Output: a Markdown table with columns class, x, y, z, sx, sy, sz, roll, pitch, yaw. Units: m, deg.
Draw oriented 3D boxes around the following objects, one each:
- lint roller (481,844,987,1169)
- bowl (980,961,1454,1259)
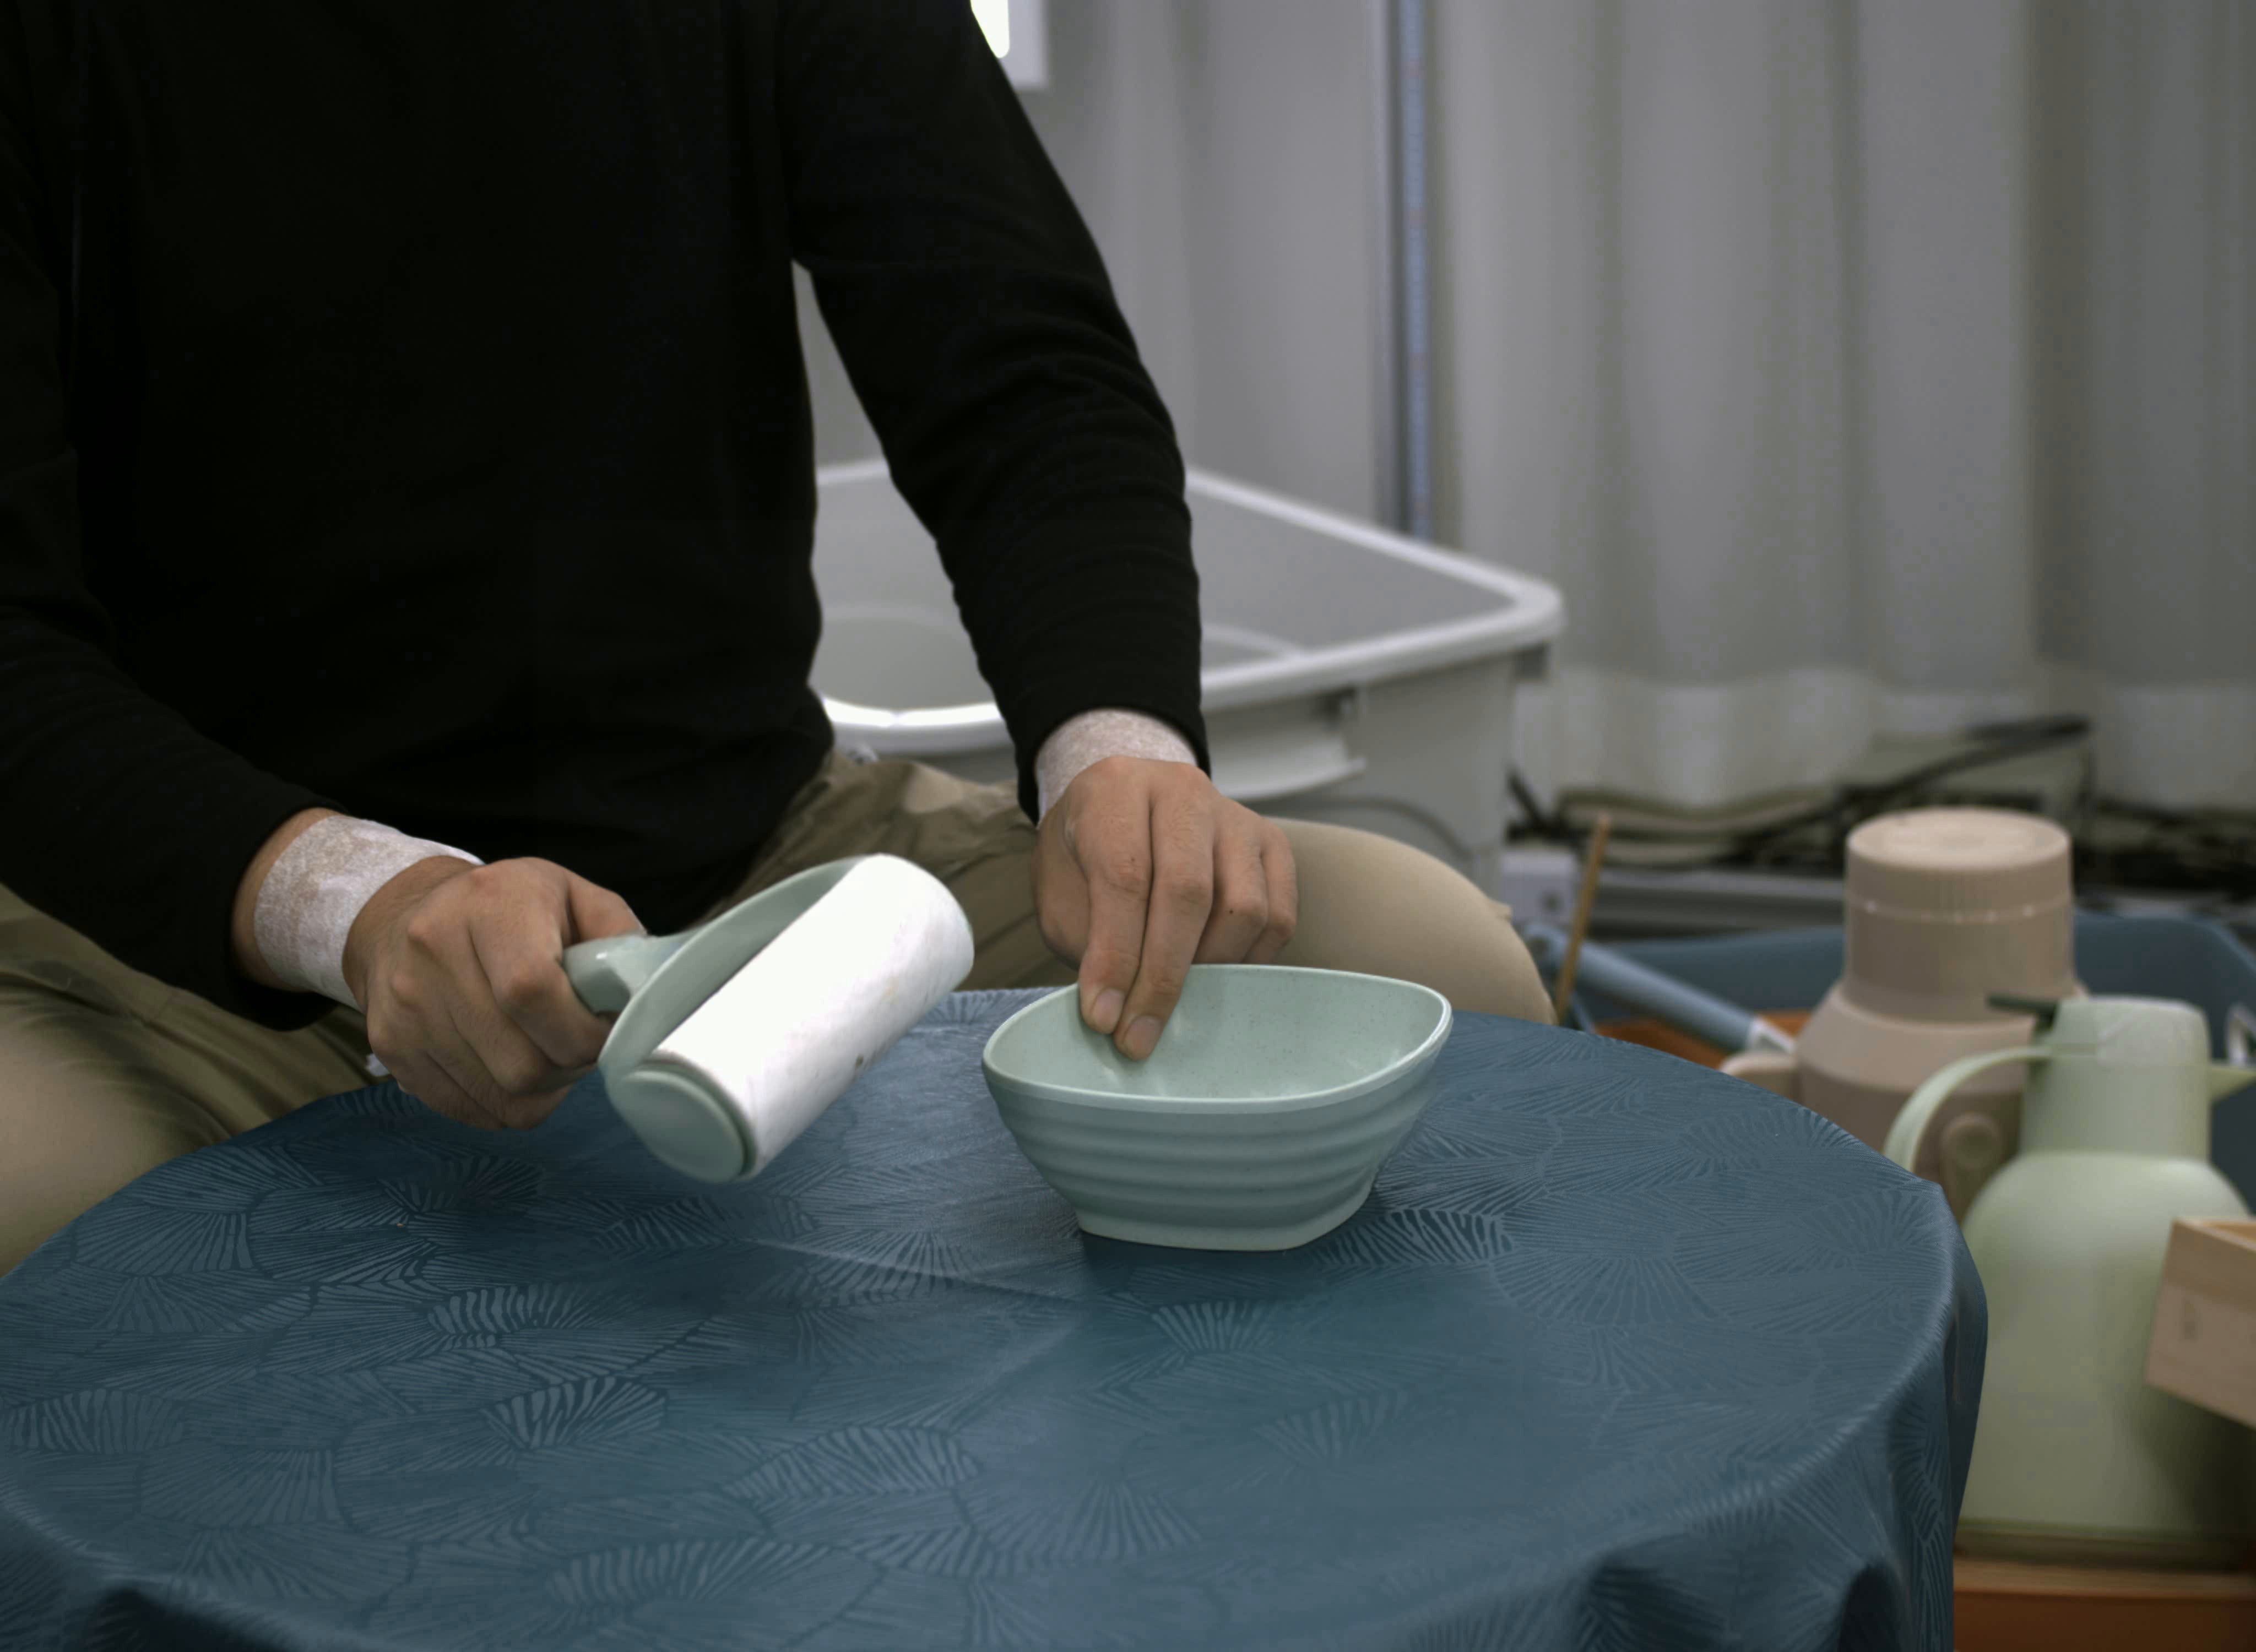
| class | x | y | z | sx | sy | sz | roll | pitch | yaw |
| --- | --- | --- | --- | --- | --- | --- | --- | --- | --- |
| lint roller | -0.138 | 0.053 | 1.669 | 0.198 | 0.048 | 0.117 | 1 | 37 | 48 |
| bowl | 0.029 | 0.091 | 1.690 | 0.151 | 0.058 | 0.152 | -2 | 16 | 0 |
